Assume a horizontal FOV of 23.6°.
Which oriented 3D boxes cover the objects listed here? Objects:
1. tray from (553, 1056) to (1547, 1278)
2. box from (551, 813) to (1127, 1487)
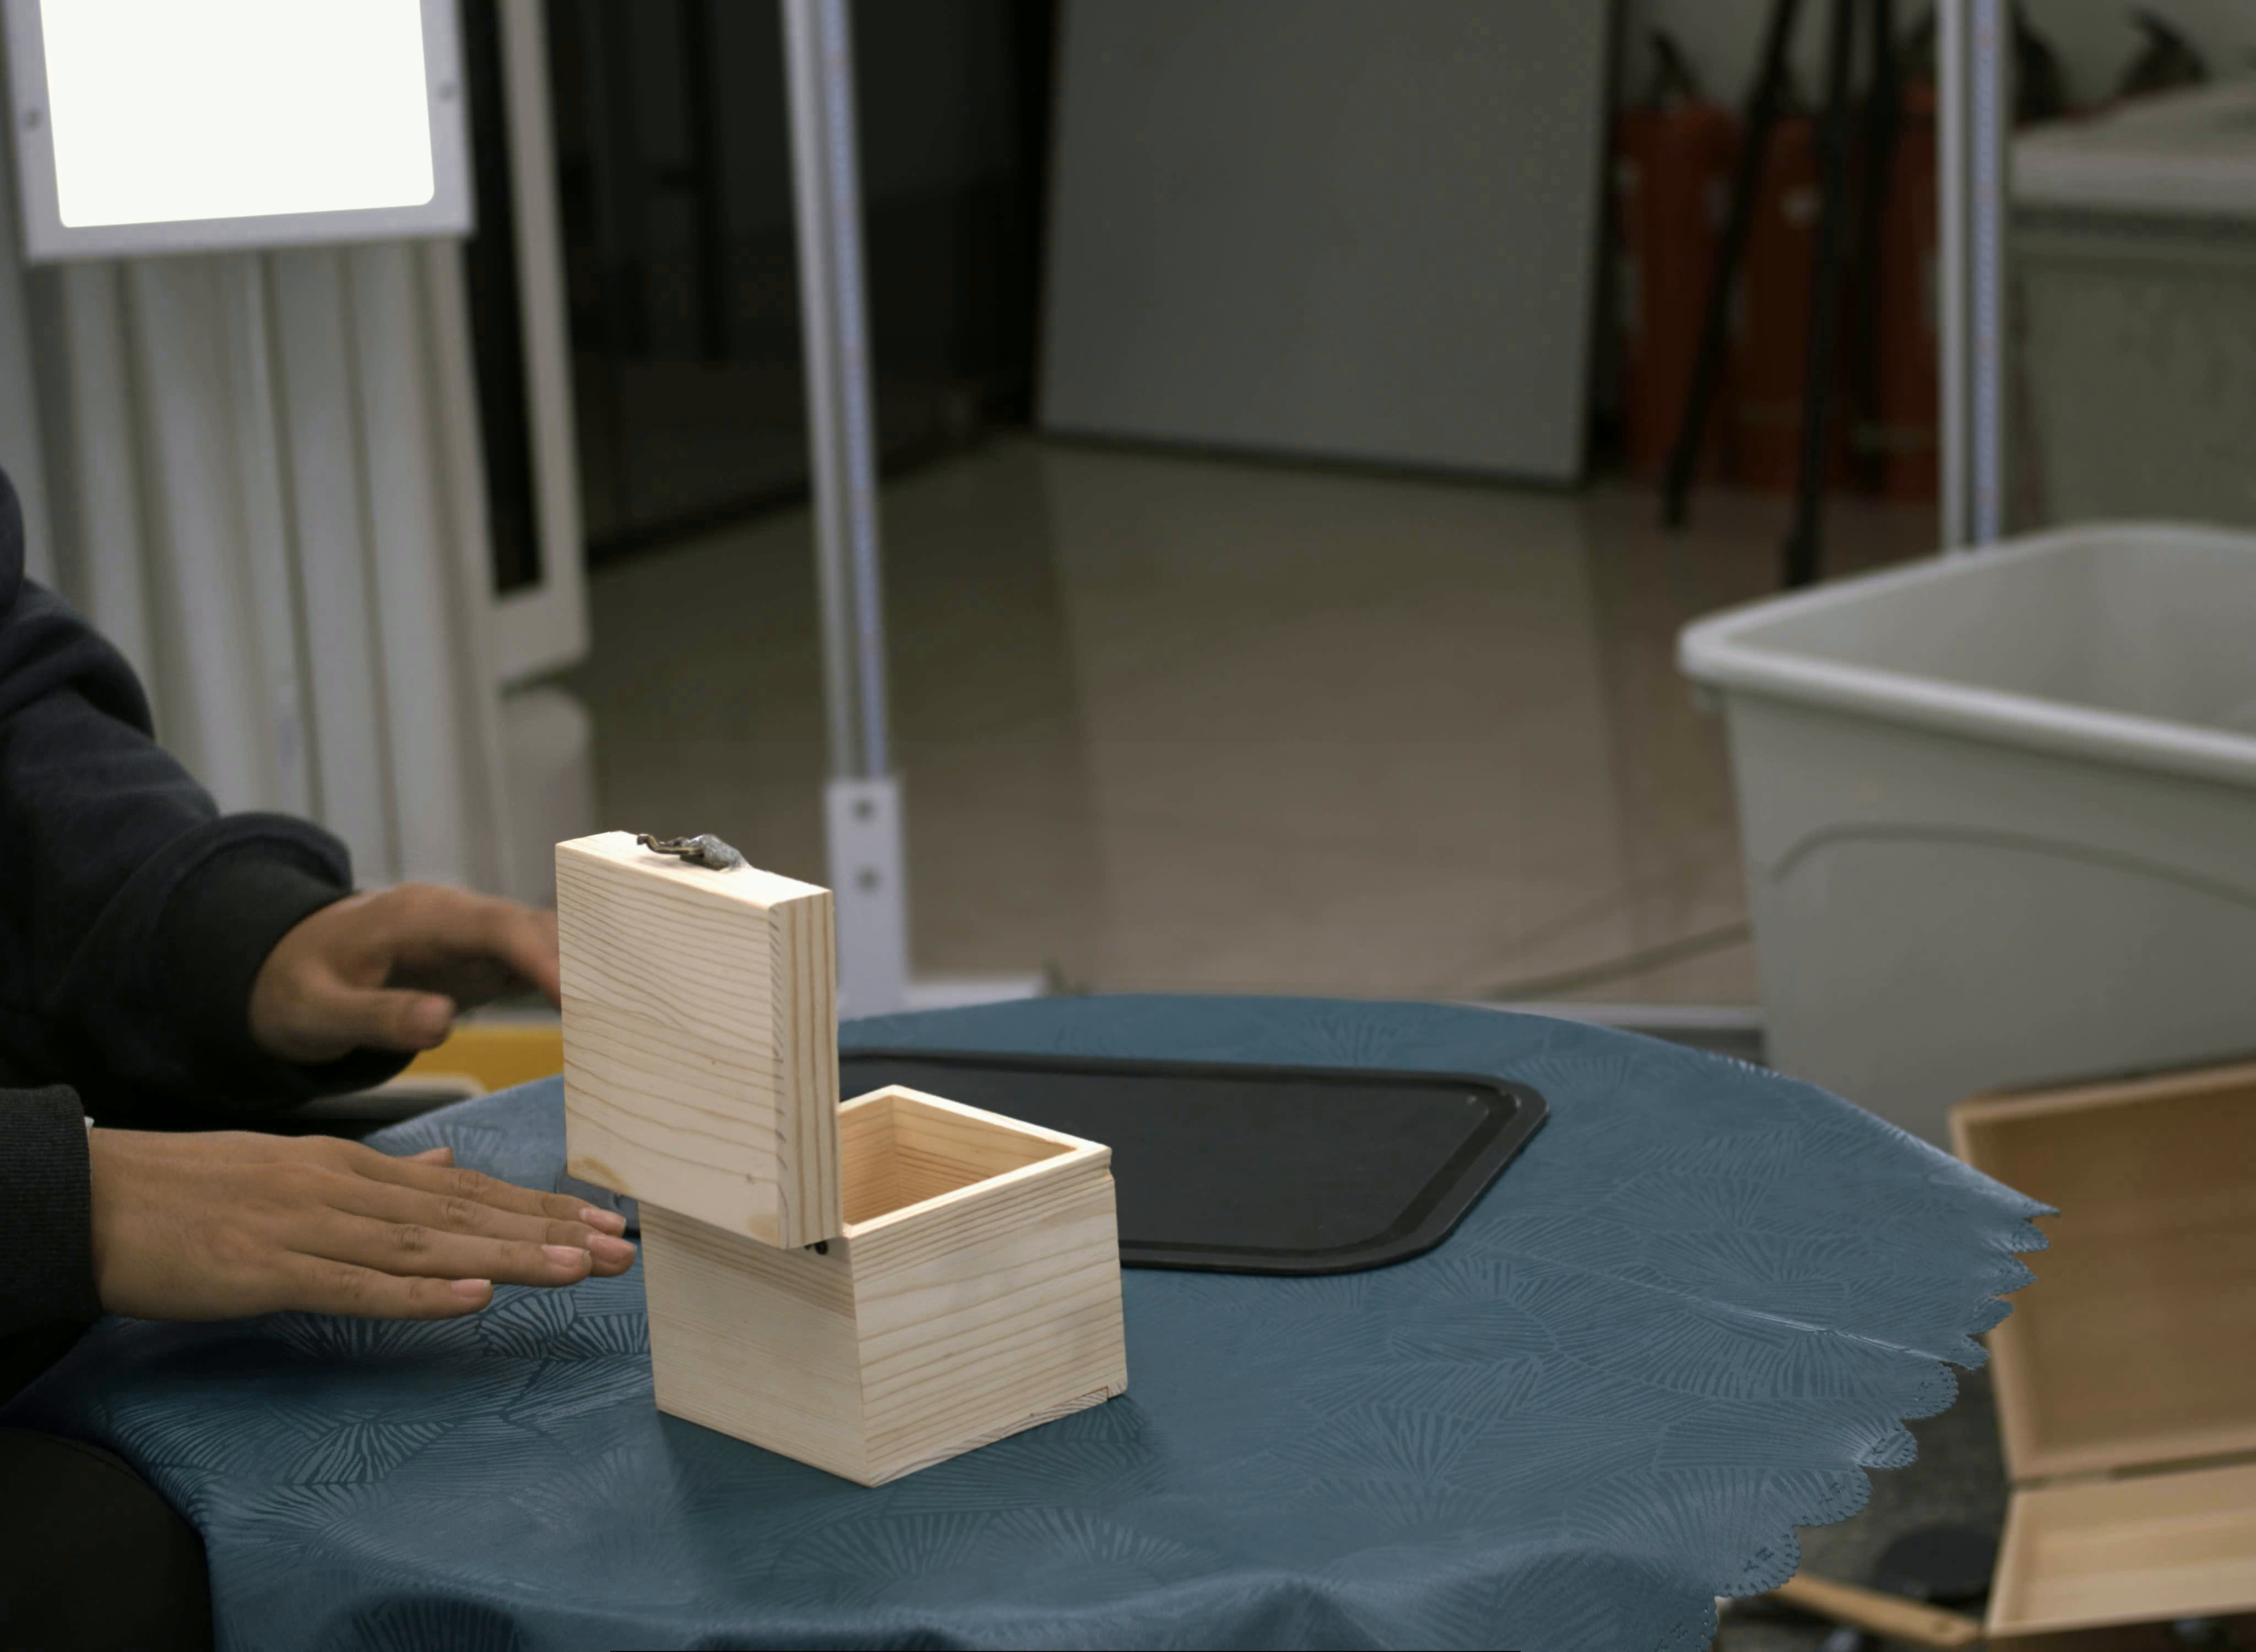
[{"bbox_3d":[-0.031,0.110,1.810,0.325,0.010,0.209,2,14,21],"label":"tray"},{"bbox_3d":[-0.081,0.082,1.559,0.131,0.186,0.103,-16,19,-39],"label":"box"}]
